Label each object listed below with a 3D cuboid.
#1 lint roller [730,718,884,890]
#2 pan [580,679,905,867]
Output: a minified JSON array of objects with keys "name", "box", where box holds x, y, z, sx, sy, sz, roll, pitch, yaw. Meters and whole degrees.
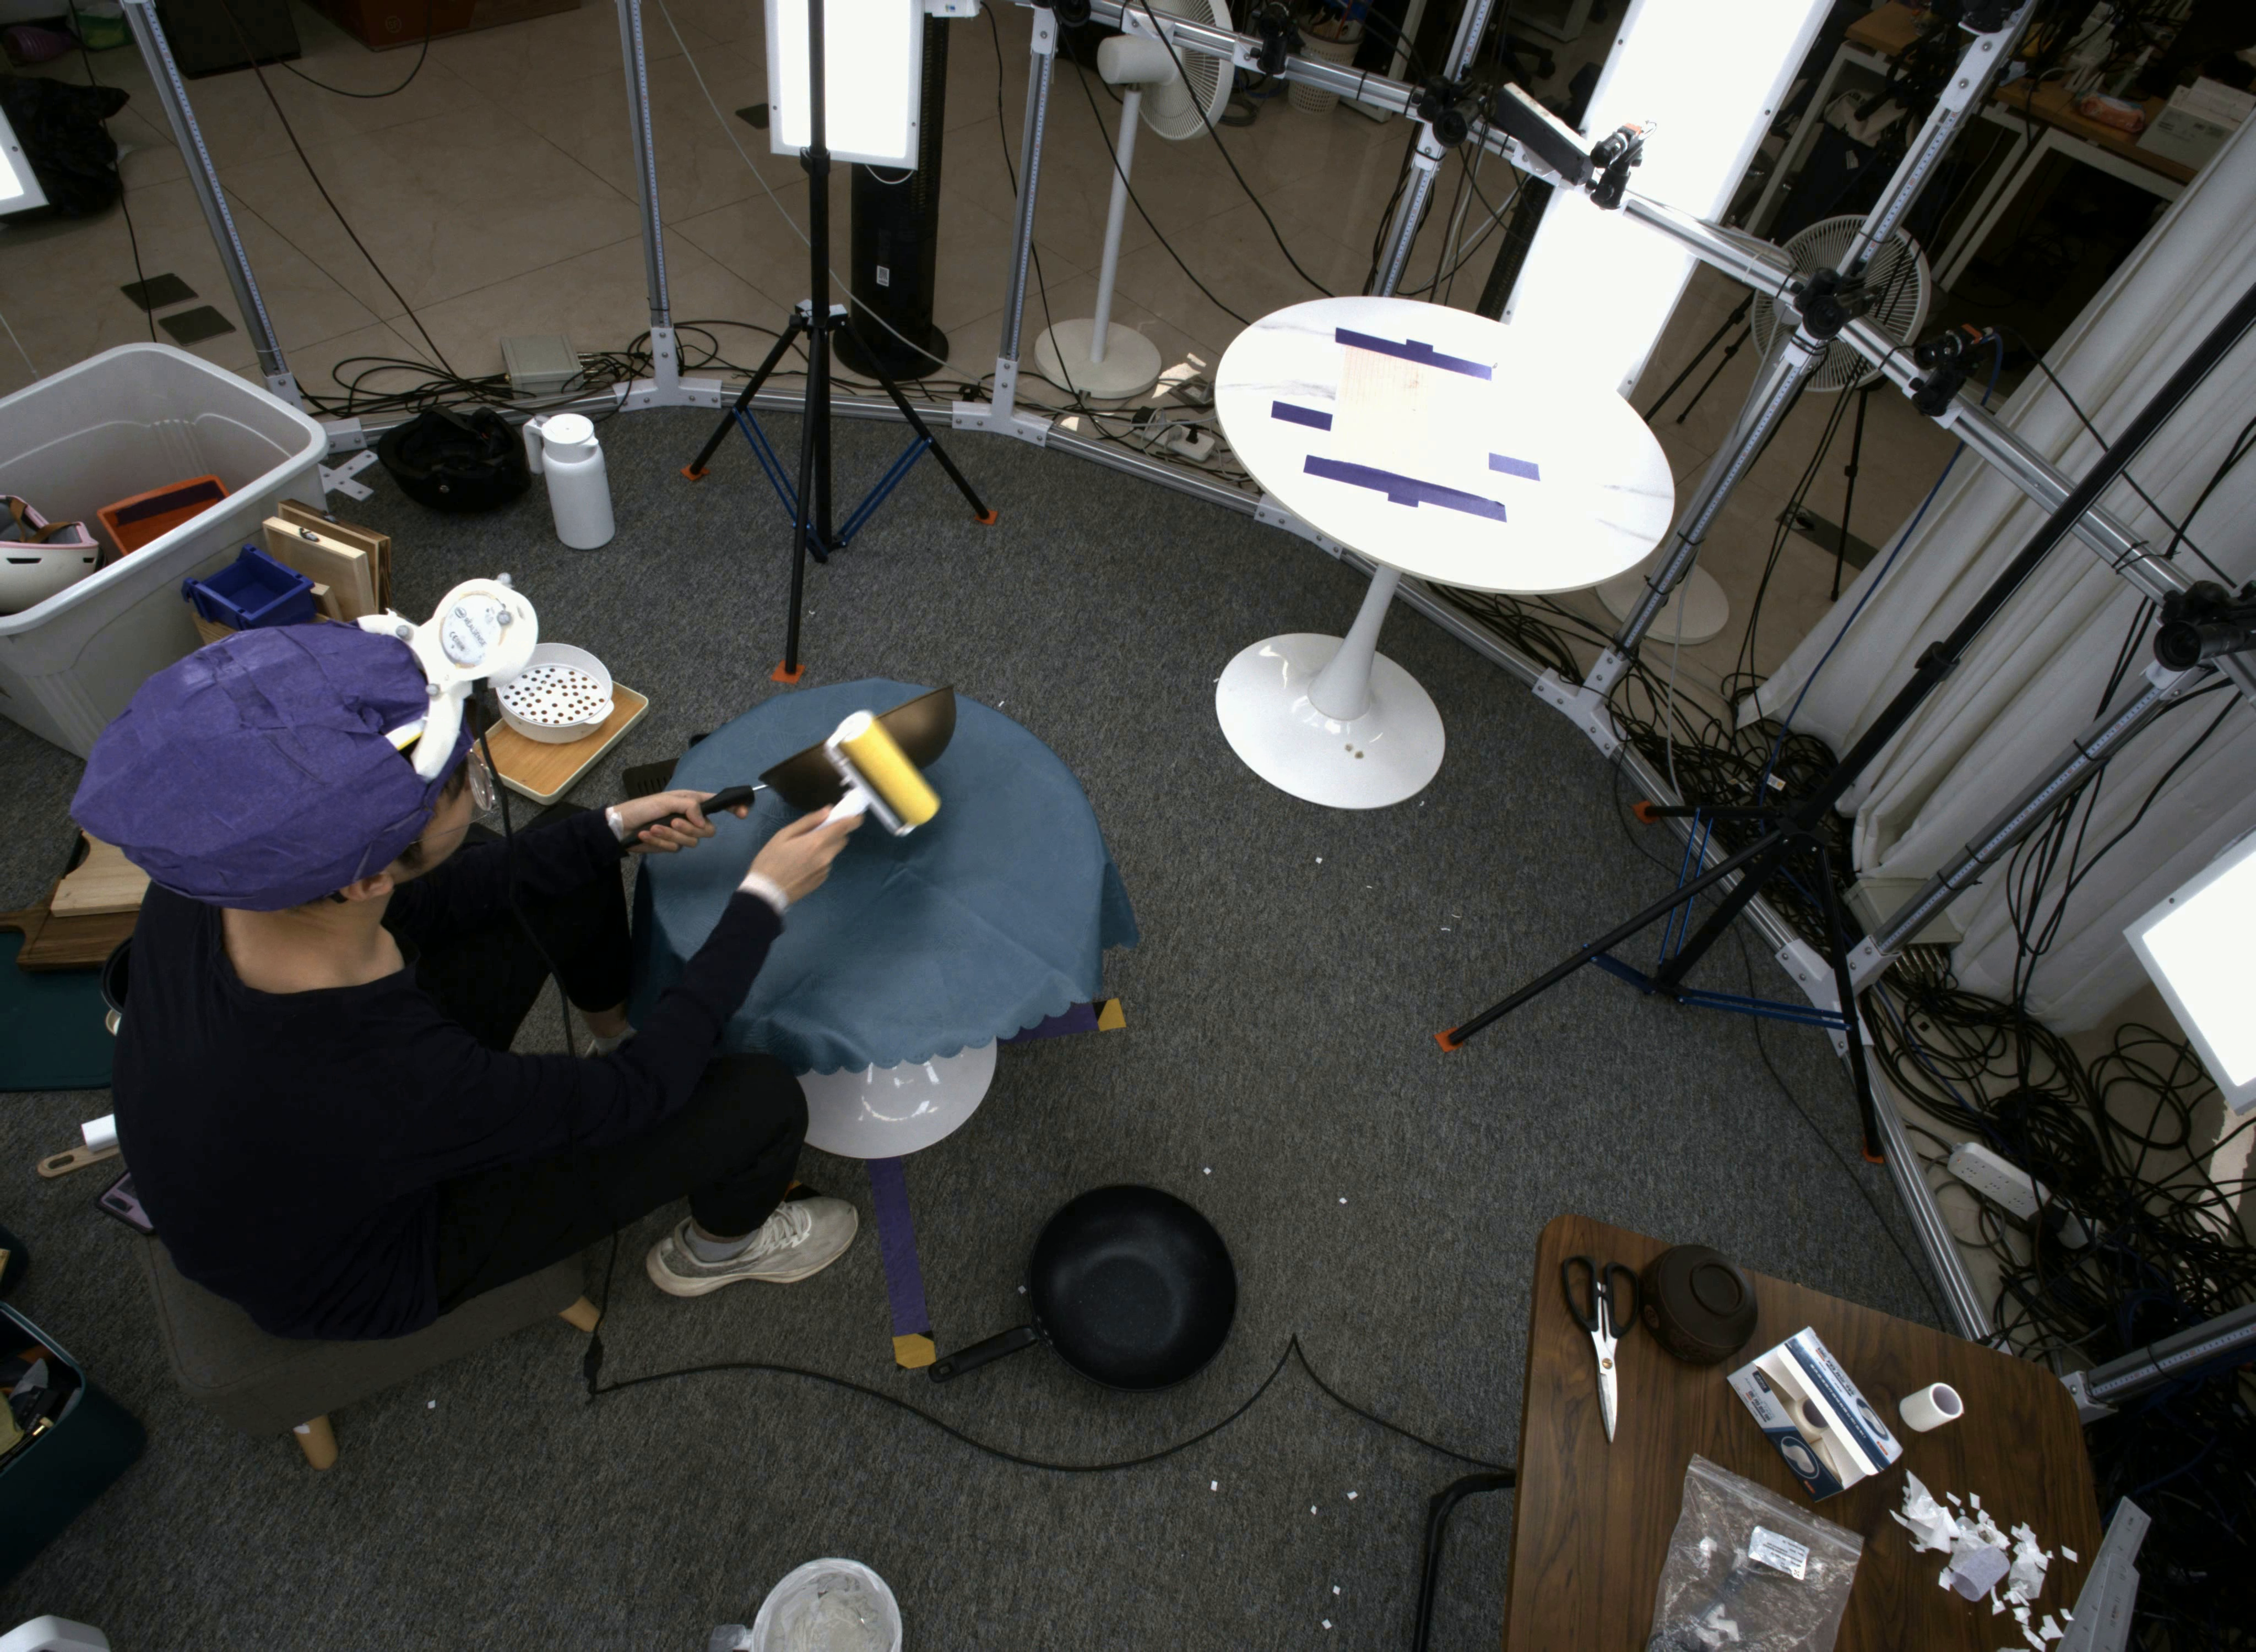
[{"name":"lint roller","box":[-0.395,-0.002,1.525,0.049,0.181,0.192,18,66,38]},{"name":"pan","box":[-0.467,-0.041,1.627,0.464,0.283,0.088,-31,95,-25]}]
